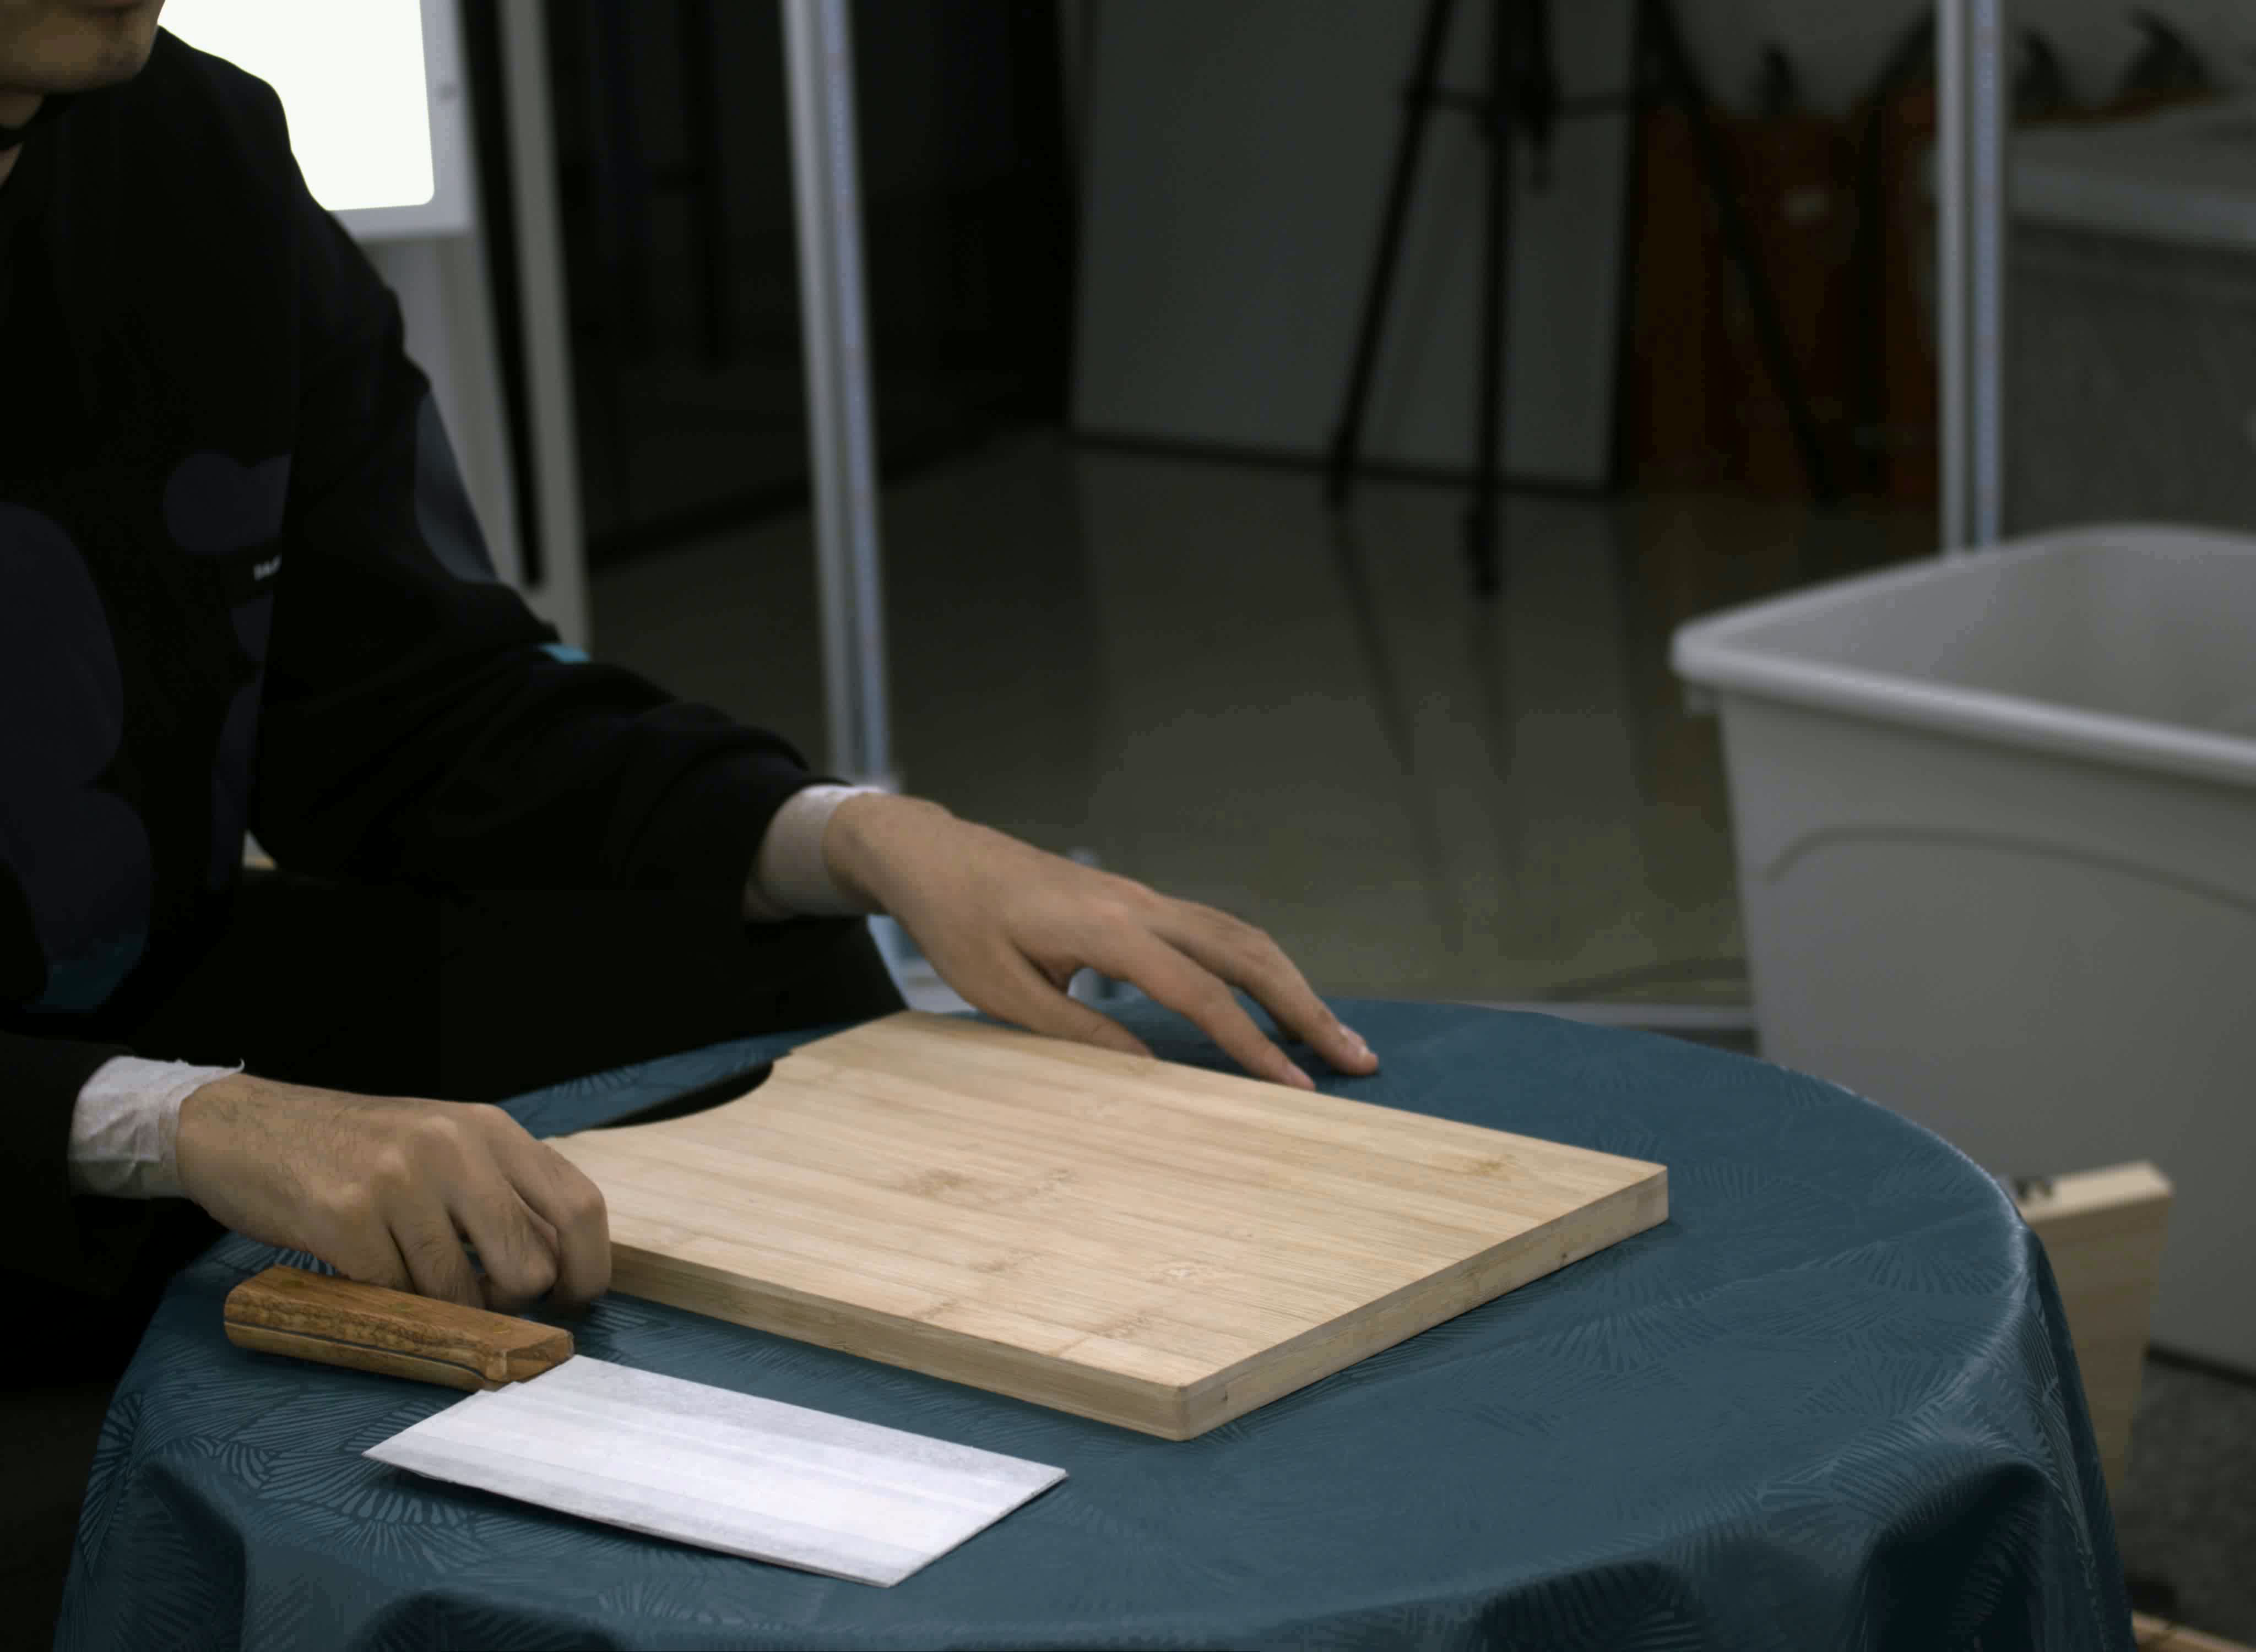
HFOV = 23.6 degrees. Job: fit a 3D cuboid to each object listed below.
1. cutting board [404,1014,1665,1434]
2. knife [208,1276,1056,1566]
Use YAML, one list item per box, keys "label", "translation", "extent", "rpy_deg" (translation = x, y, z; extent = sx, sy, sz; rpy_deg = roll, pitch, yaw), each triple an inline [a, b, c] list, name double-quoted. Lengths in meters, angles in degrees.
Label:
- label: "cutting board"
  translation: [-0.033, 0.122, 1.742]
  extent: [0.351, 0.024, 0.246]
  rpy_deg: [8, 18, 41]
- label: "knife"
  translation: [-0.164, 0.175, 1.571]
  extent: [0.307, 0.021, 0.091]
  rpy_deg: [8, 20, 34]
